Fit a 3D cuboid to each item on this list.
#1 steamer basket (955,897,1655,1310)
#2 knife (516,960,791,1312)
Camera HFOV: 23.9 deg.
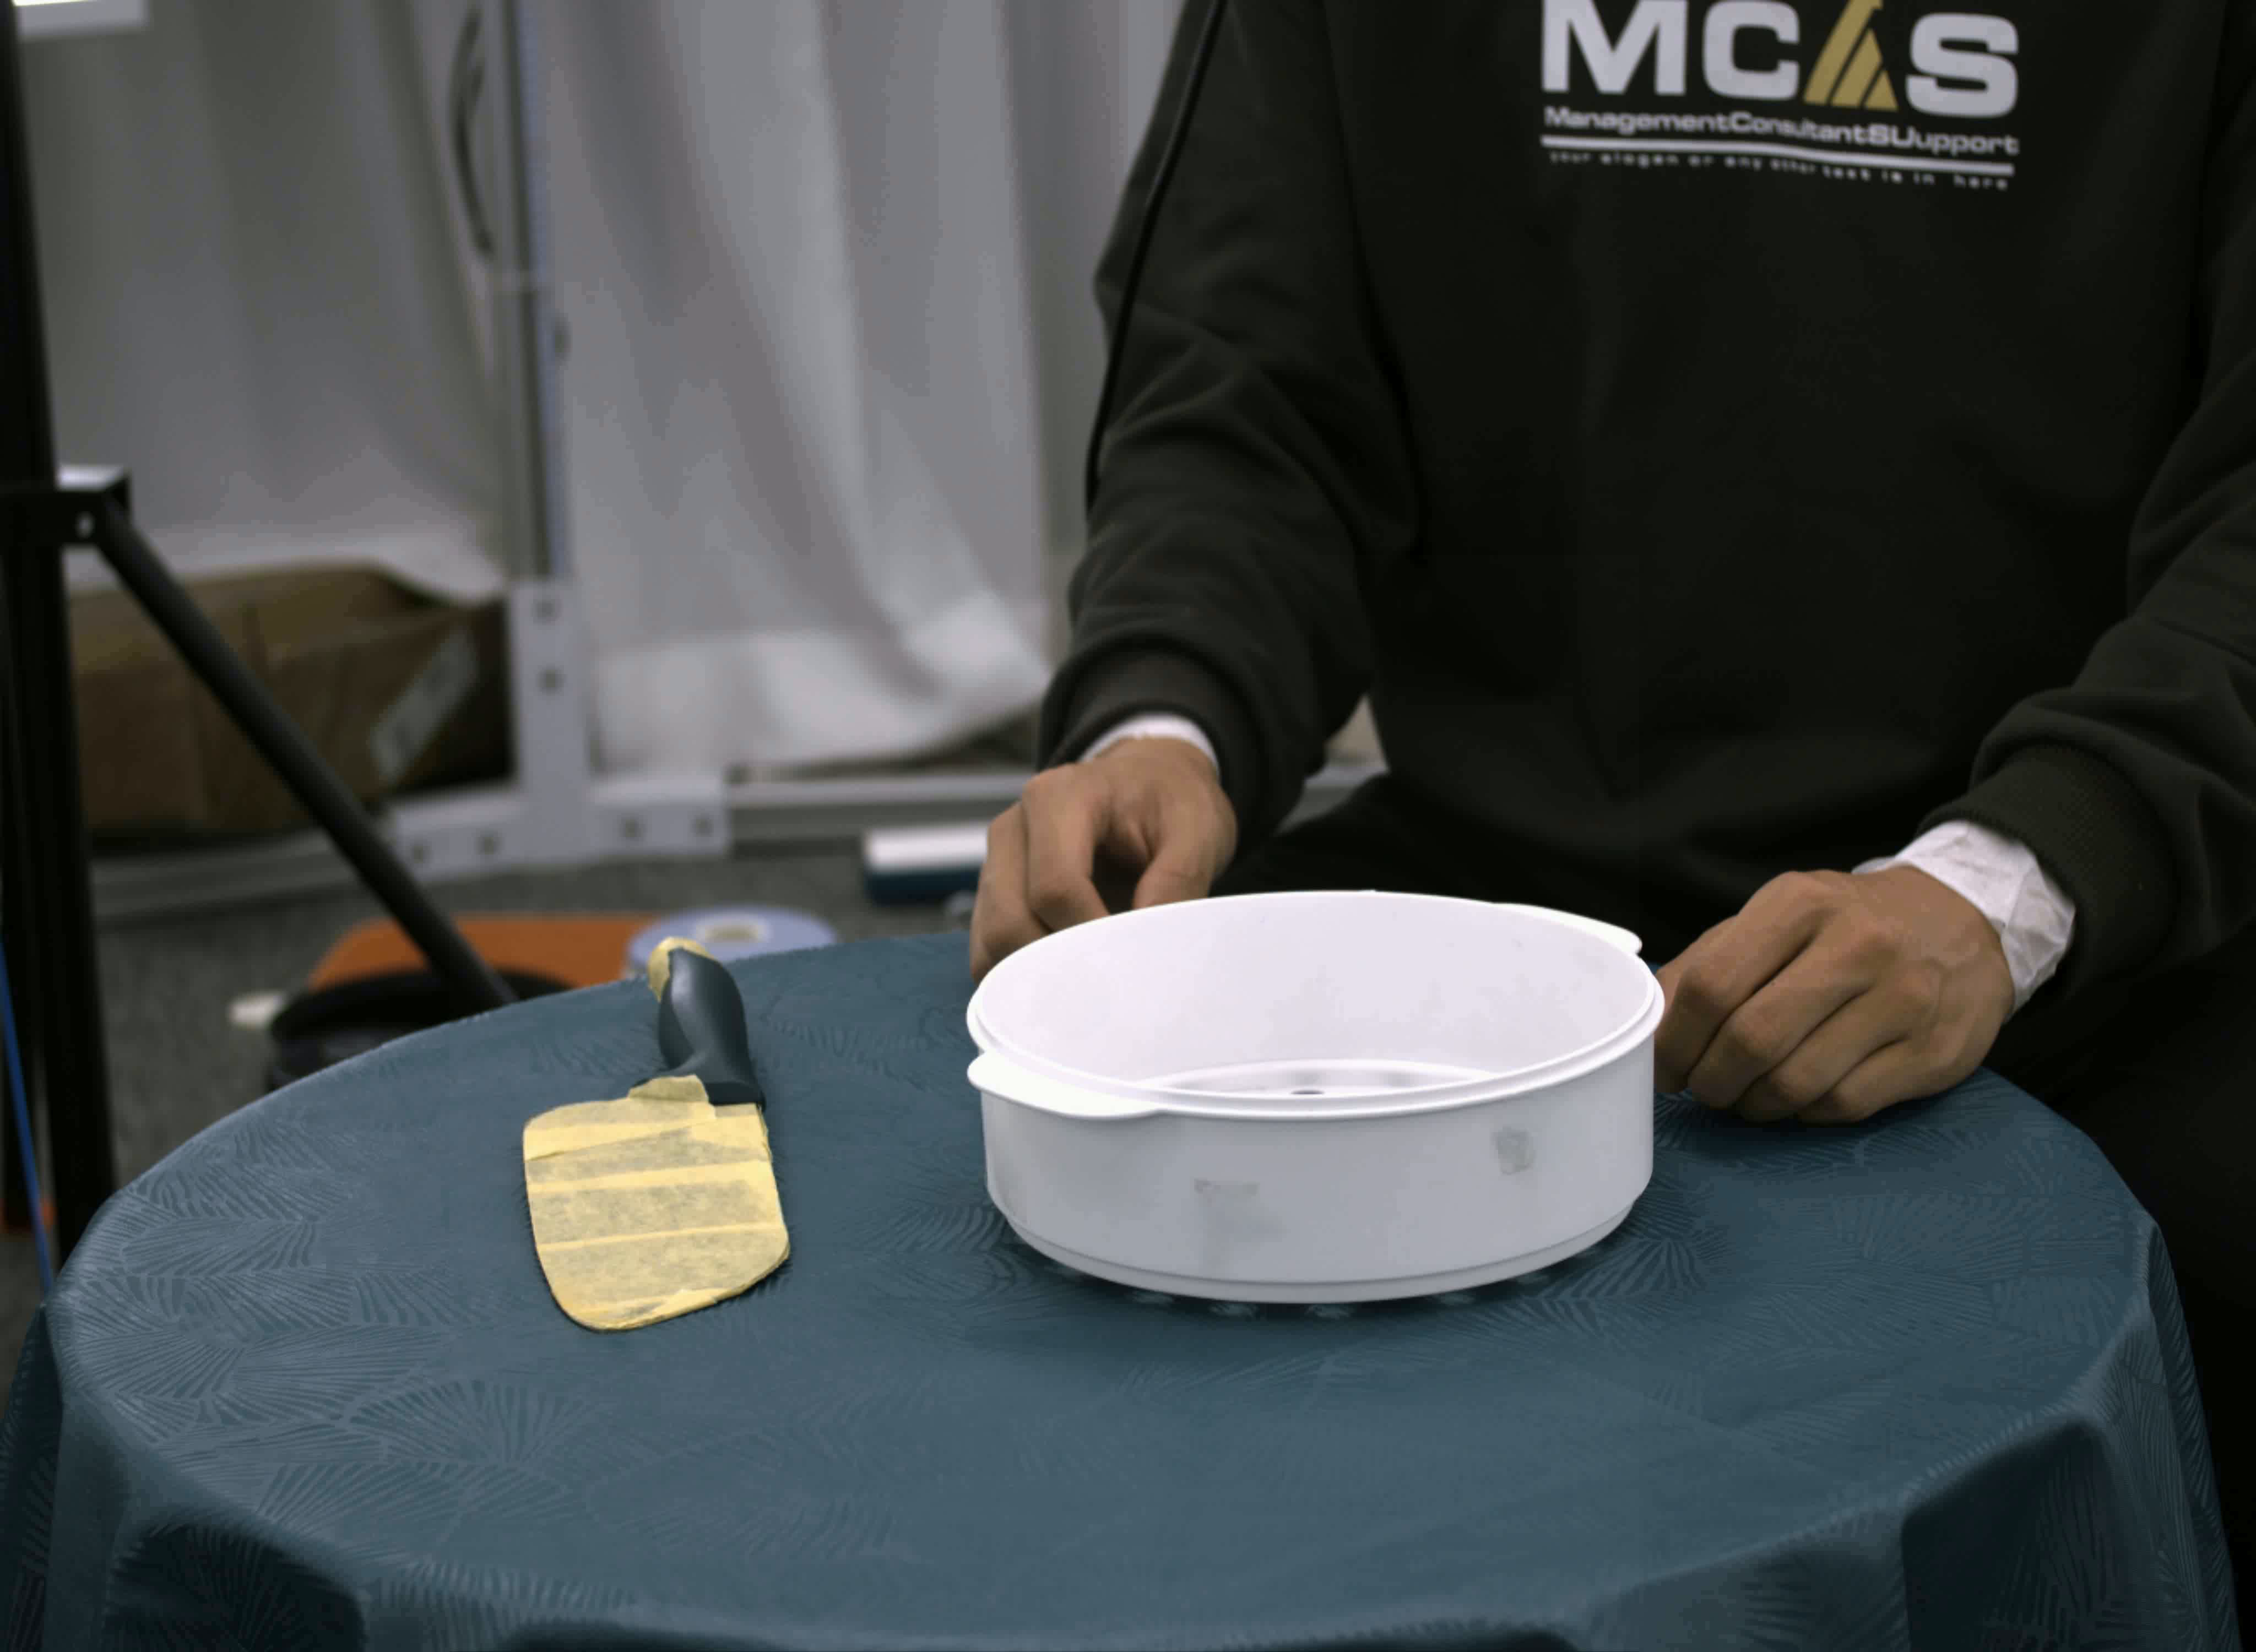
[{"bbox_3d":[0.051,0.080,1.531,0.225,0.069,0.206,-14,20,-39],"label":"steamer basket"},{"bbox_3d":[-0.144,0.093,1.610,0.080,0.027,0.292,-2,16,-5],"label":"knife"}]
